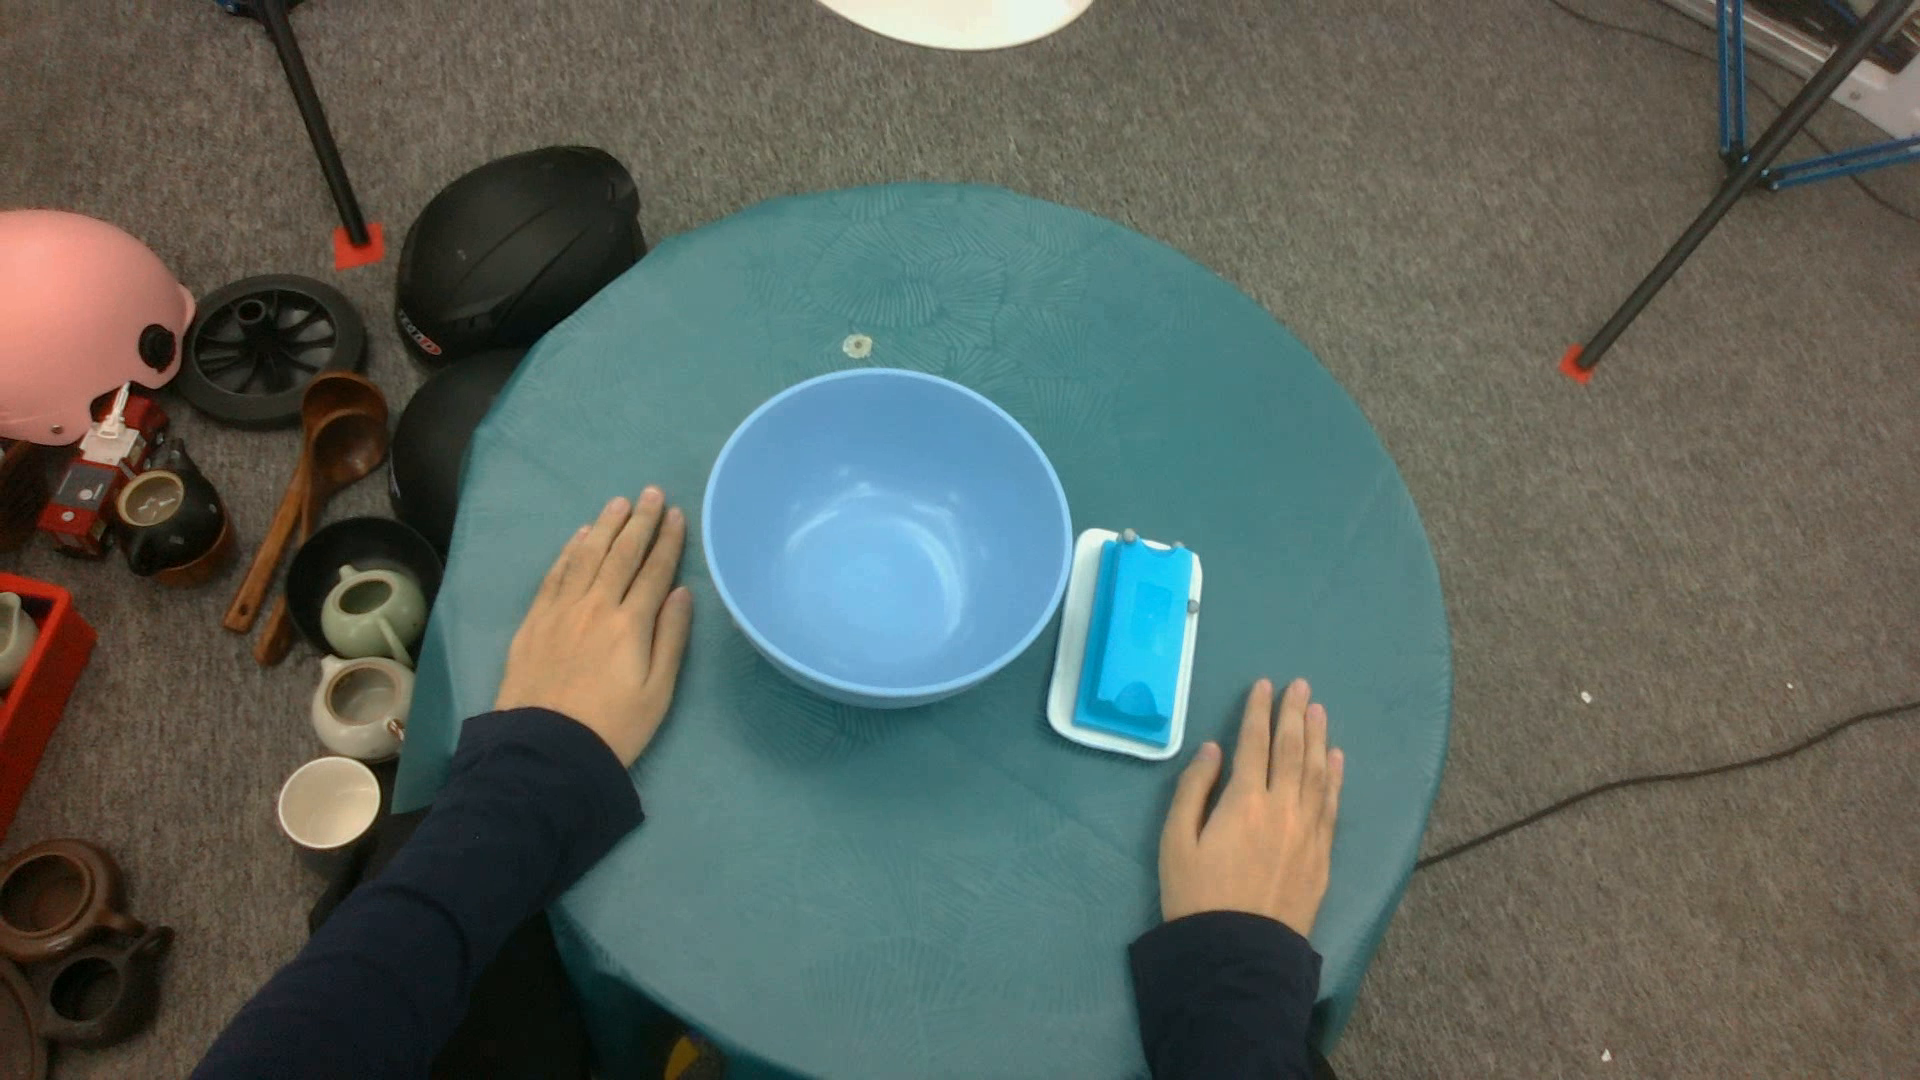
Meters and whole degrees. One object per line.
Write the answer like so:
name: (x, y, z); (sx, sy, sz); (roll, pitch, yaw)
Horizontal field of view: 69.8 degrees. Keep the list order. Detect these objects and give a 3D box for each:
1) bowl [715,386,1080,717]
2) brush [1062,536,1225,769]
bowl: (-0.037, 0.019, 0.777); (0.196, 0.095, 0.197); (4, 59, -6)
brush: (0.110, 0.057, 0.795); (0.084, 0.055, 0.144); (12, 58, 2)
